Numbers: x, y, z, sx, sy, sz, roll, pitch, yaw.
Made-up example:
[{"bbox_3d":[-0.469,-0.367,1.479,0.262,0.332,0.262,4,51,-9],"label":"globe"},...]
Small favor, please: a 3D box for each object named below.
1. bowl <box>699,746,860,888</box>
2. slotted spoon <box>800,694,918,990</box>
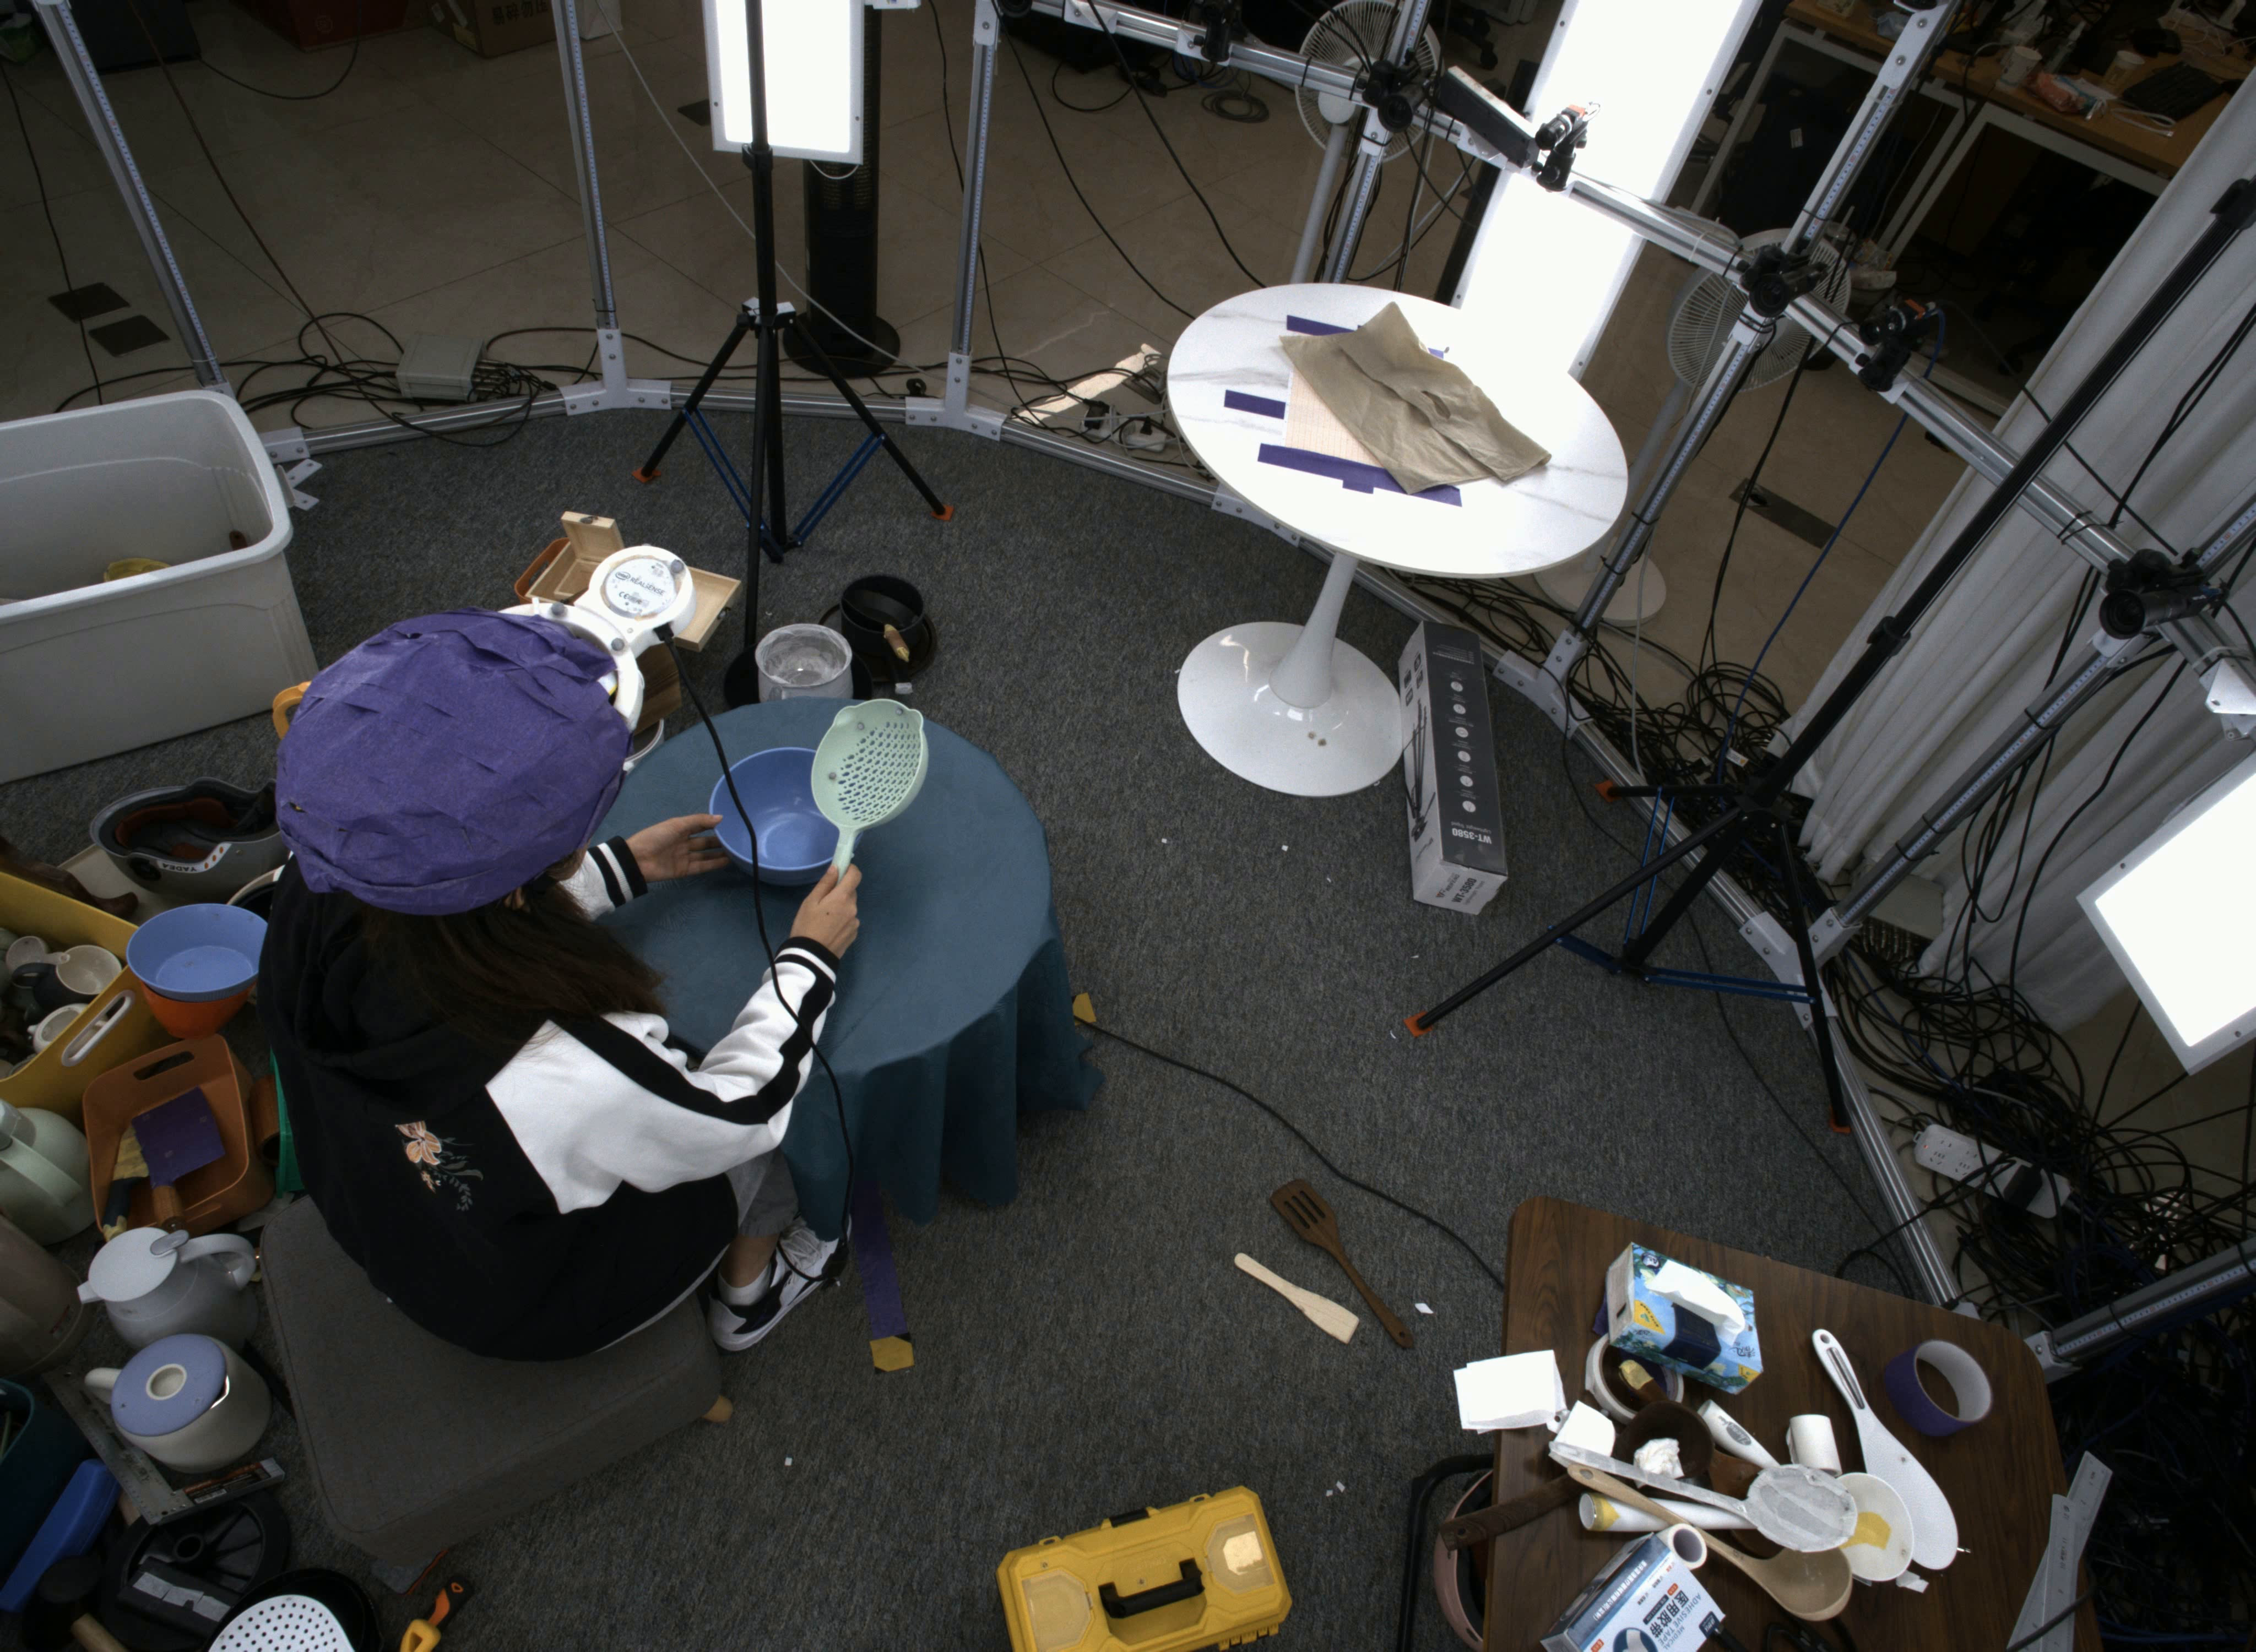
[{"bbox_3d":[-0.441,0.003,1.651,0.196,0.097,0.193,8,52,-9],"label":"bowl"},{"bbox_3d":[-0.350,0.016,1.591,0.164,0.078,0.358,6,70,27],"label":"slotted spoon"}]
